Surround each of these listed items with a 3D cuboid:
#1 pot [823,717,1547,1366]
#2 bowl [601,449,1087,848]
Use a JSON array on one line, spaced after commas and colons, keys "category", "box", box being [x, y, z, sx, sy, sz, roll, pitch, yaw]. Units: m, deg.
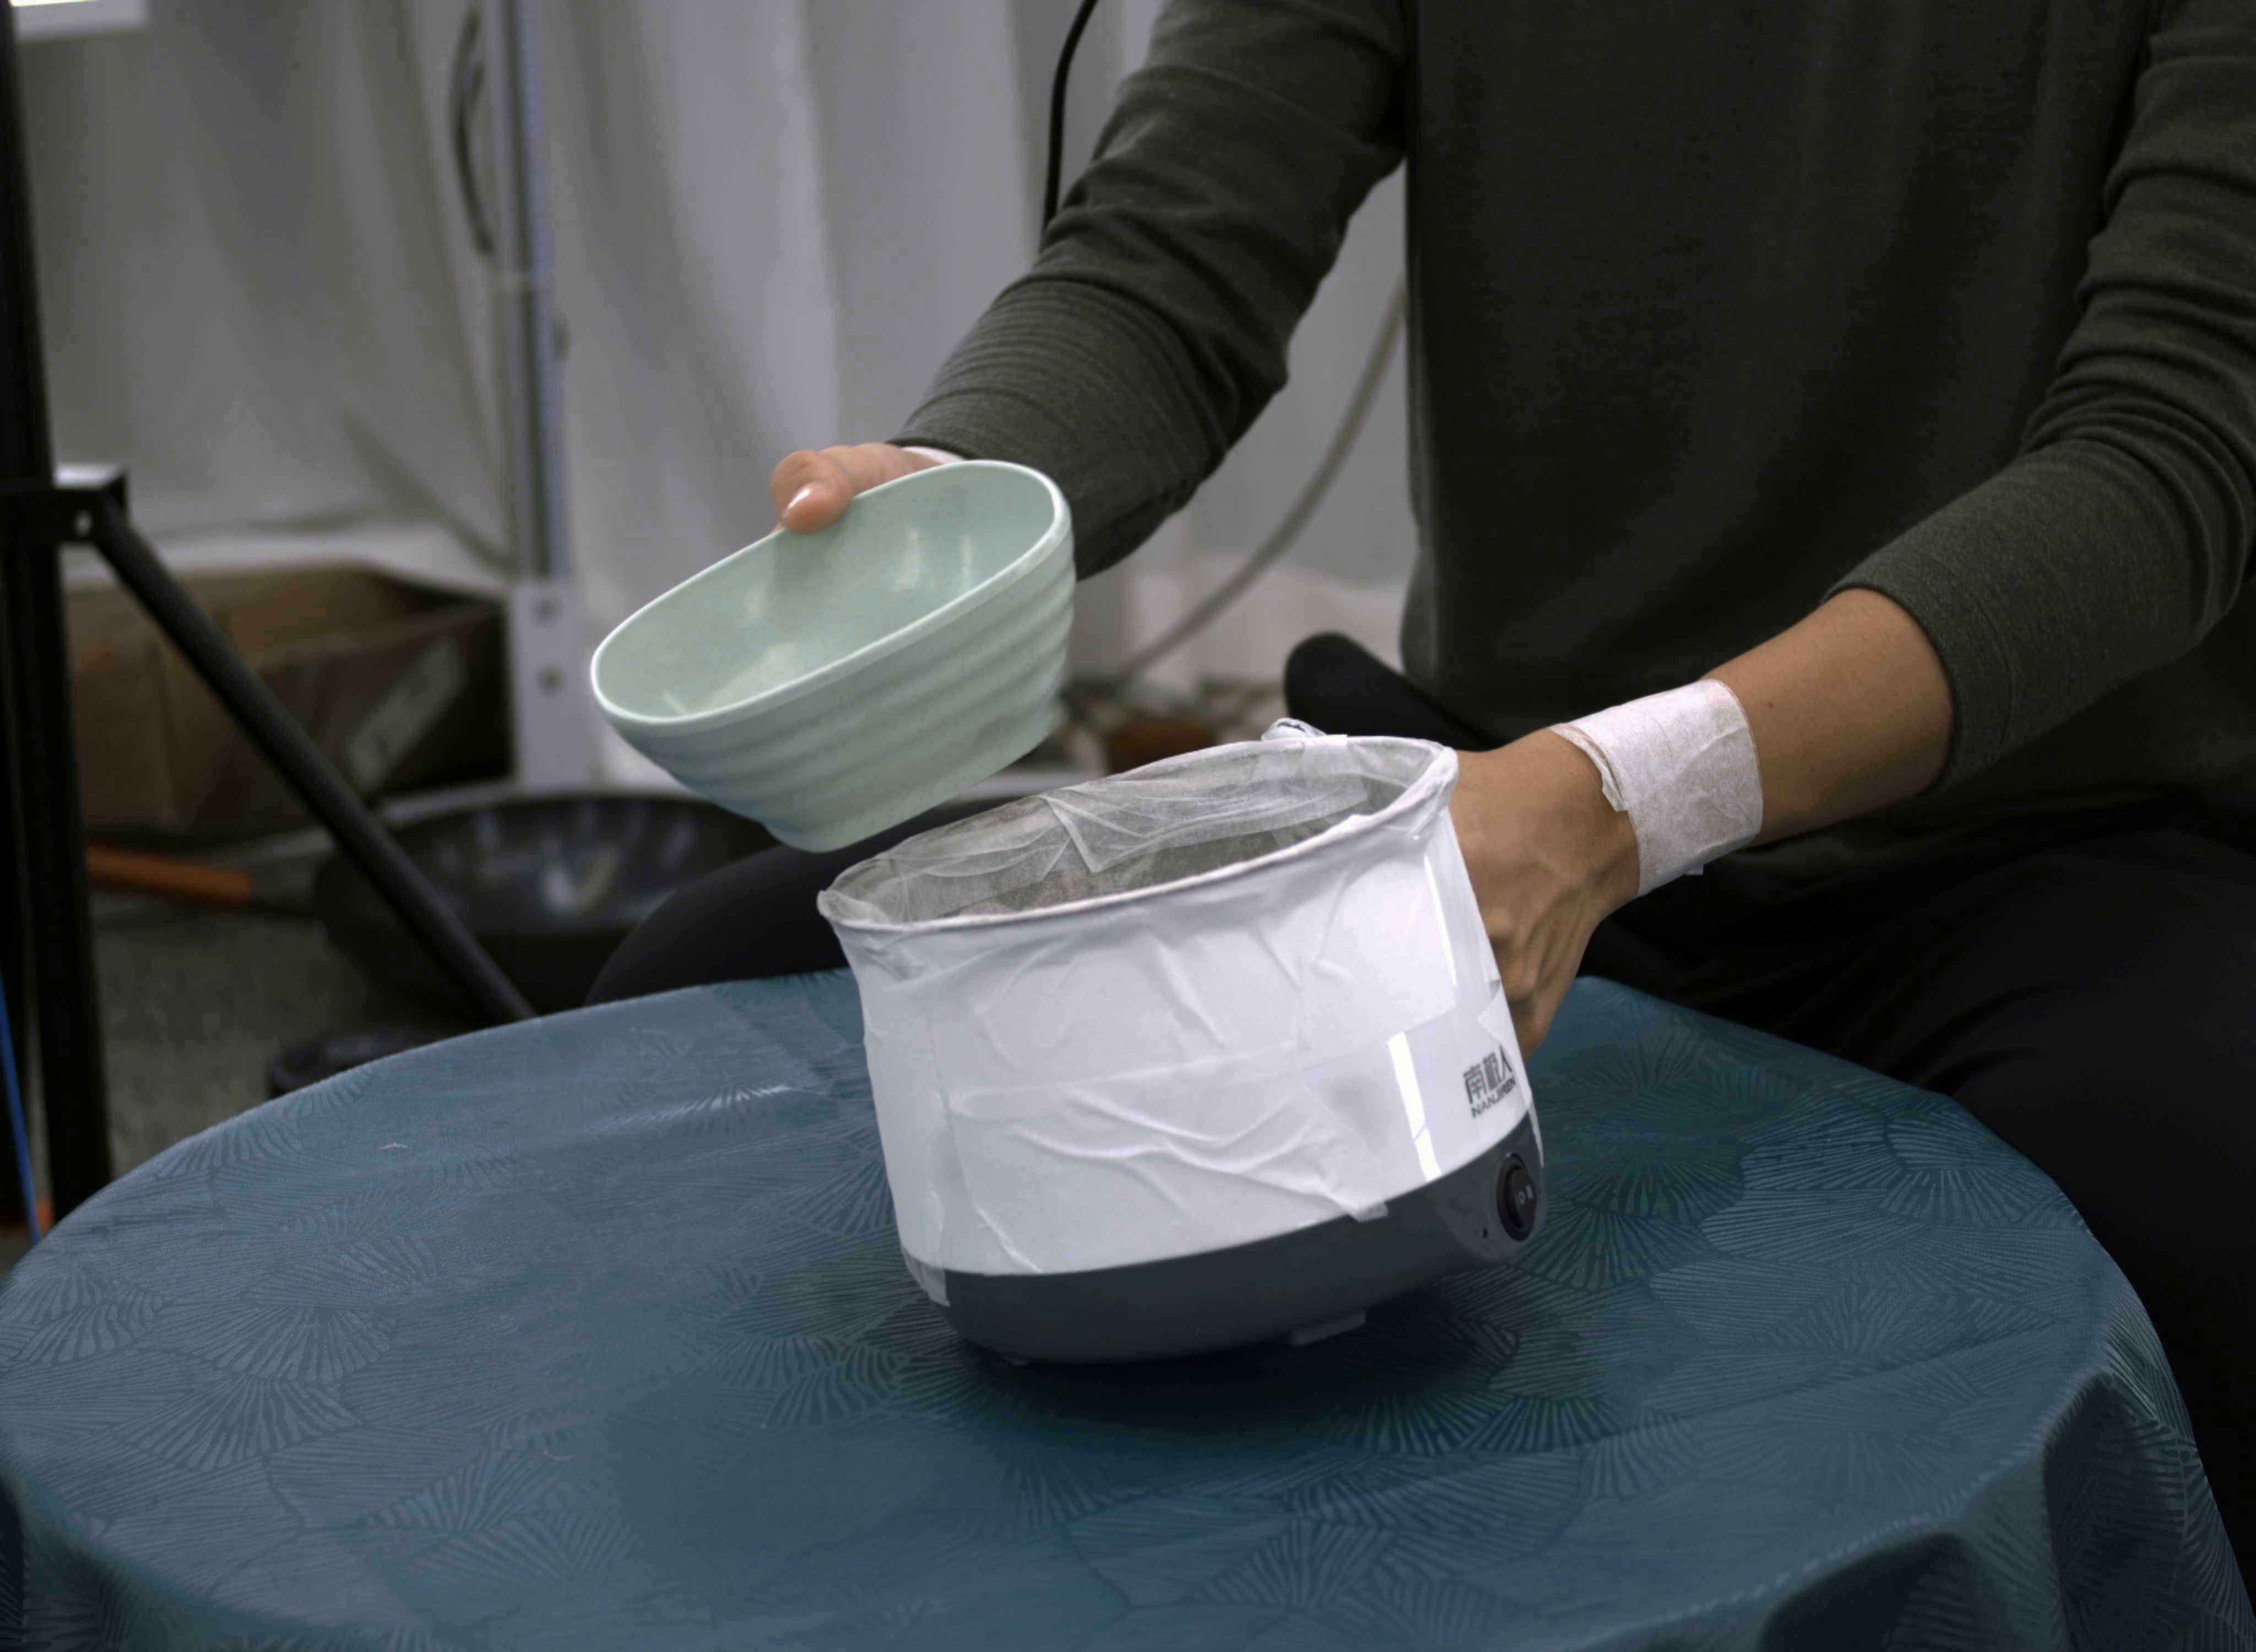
[{"category": "pot", "box": [0.028, 0.054, 1.462, 0.181, 0.136, 0.230, -7, 11, 28]}, {"category": "bowl", "box": [-0.070, -0.043, 1.466, 0.151, 0.058, 0.152, -21, 21, 7]}]
